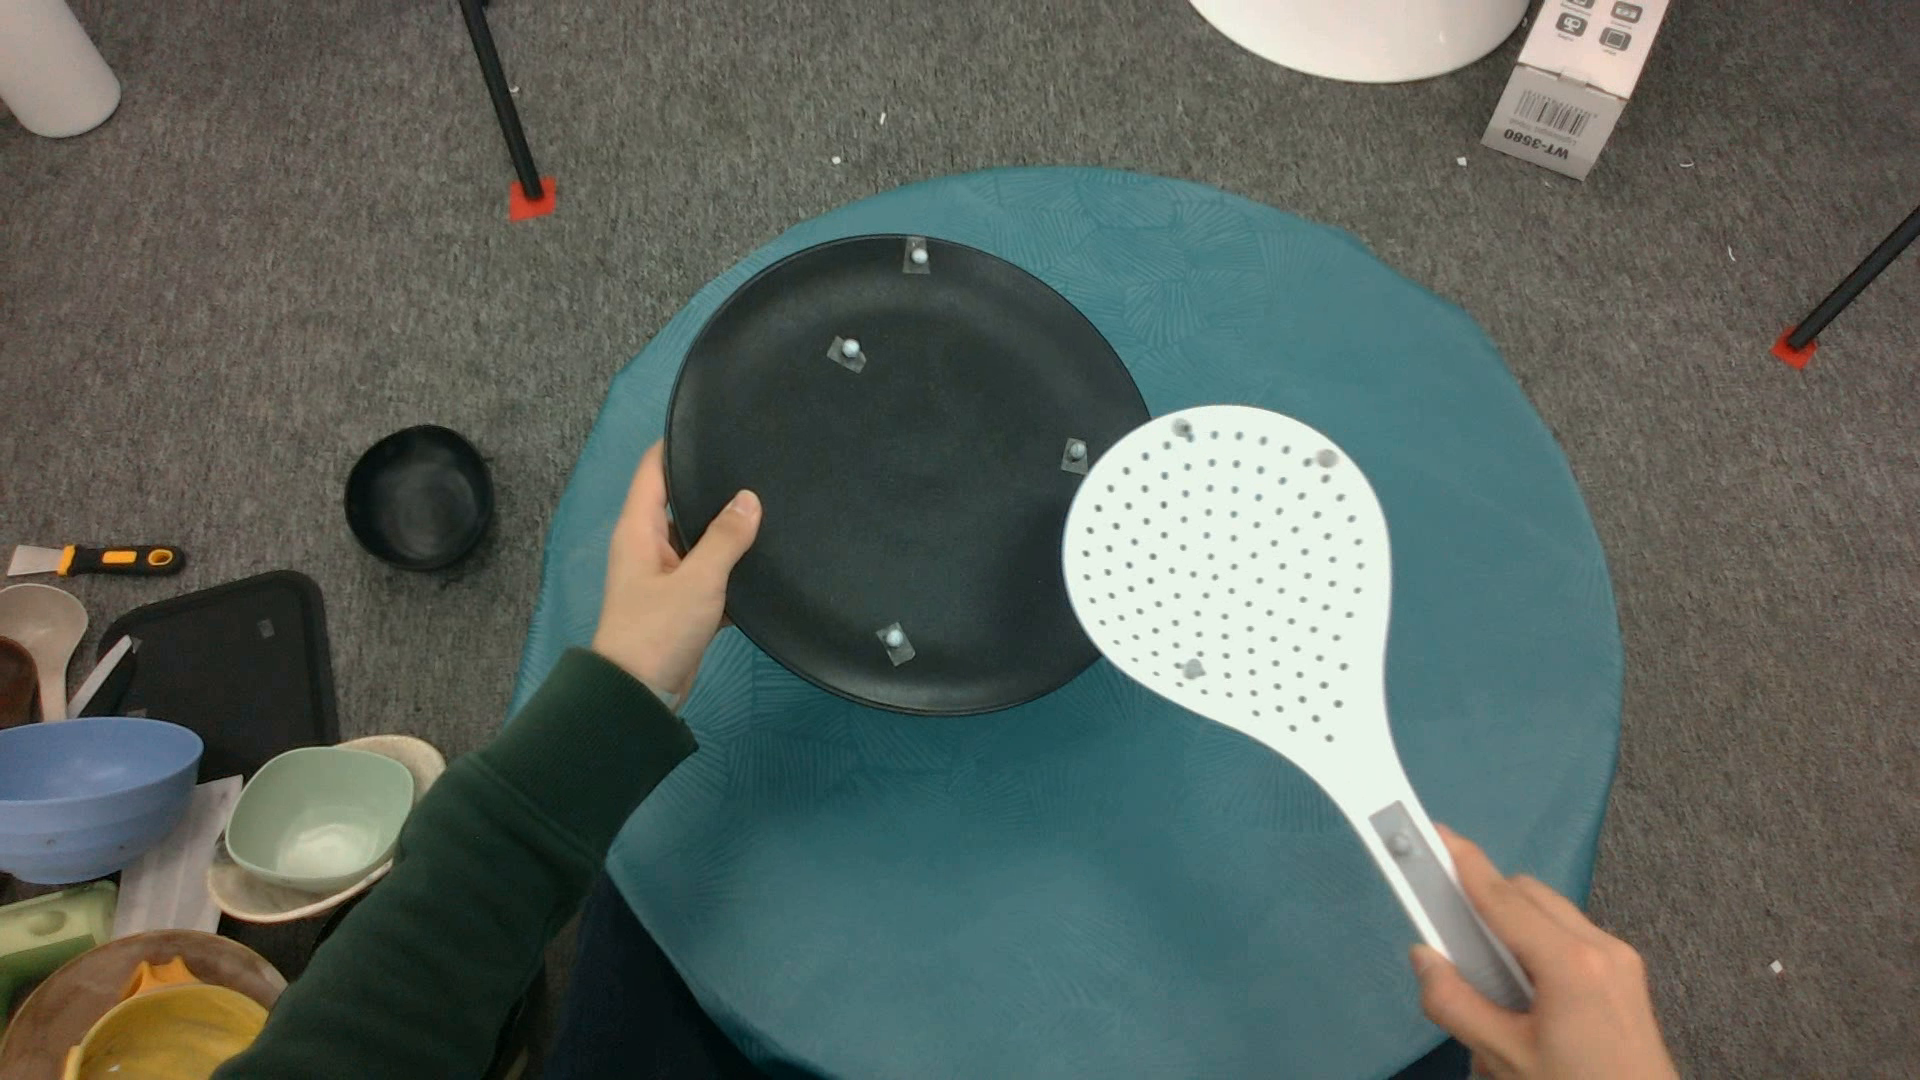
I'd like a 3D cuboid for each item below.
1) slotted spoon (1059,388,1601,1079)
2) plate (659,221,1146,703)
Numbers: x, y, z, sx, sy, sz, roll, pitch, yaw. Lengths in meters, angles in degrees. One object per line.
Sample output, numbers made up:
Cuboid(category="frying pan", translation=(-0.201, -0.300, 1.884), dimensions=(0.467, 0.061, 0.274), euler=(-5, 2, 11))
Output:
Cuboid(category="slotted spoon", translation=(0.162, 0.088, 0.563), dimensions=(0.136, 0.045, 0.350), euler=(-28, 67, -5))
Cuboid(category="plate", translation=(-0.020, -0.040, 0.654), dimensions=(0.244, 0.023, 0.245), euler=(6, 69, -16))
